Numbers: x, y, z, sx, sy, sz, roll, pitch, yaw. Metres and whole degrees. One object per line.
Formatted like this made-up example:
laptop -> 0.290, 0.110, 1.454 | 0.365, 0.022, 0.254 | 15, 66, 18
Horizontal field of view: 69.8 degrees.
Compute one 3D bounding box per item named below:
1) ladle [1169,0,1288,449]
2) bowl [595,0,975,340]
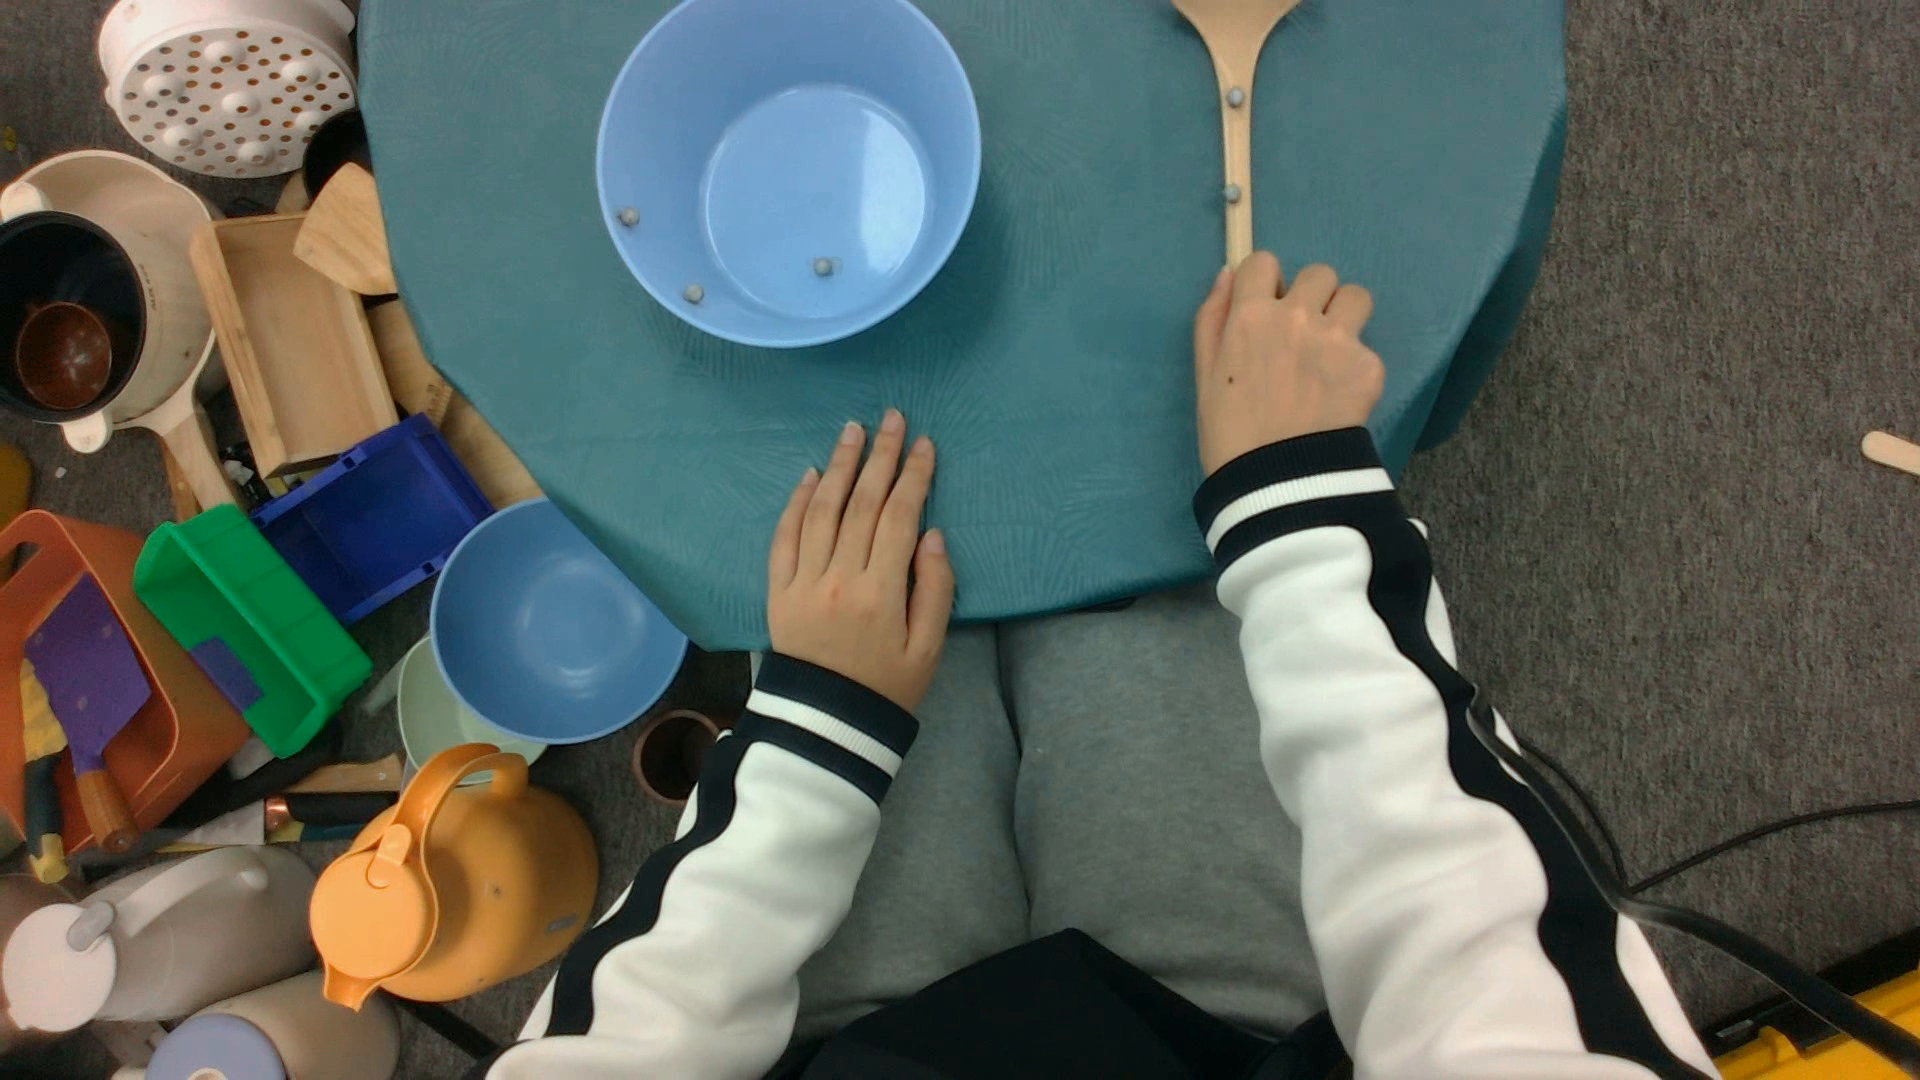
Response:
ladle -> 0.132, -0.172, 0.628 | 0.072, 0.073, 0.254 | -1, 84, -2
bowl -> -0.076, -0.173, 0.651 | 0.176, 0.070, 0.176 | -1, 83, 7
